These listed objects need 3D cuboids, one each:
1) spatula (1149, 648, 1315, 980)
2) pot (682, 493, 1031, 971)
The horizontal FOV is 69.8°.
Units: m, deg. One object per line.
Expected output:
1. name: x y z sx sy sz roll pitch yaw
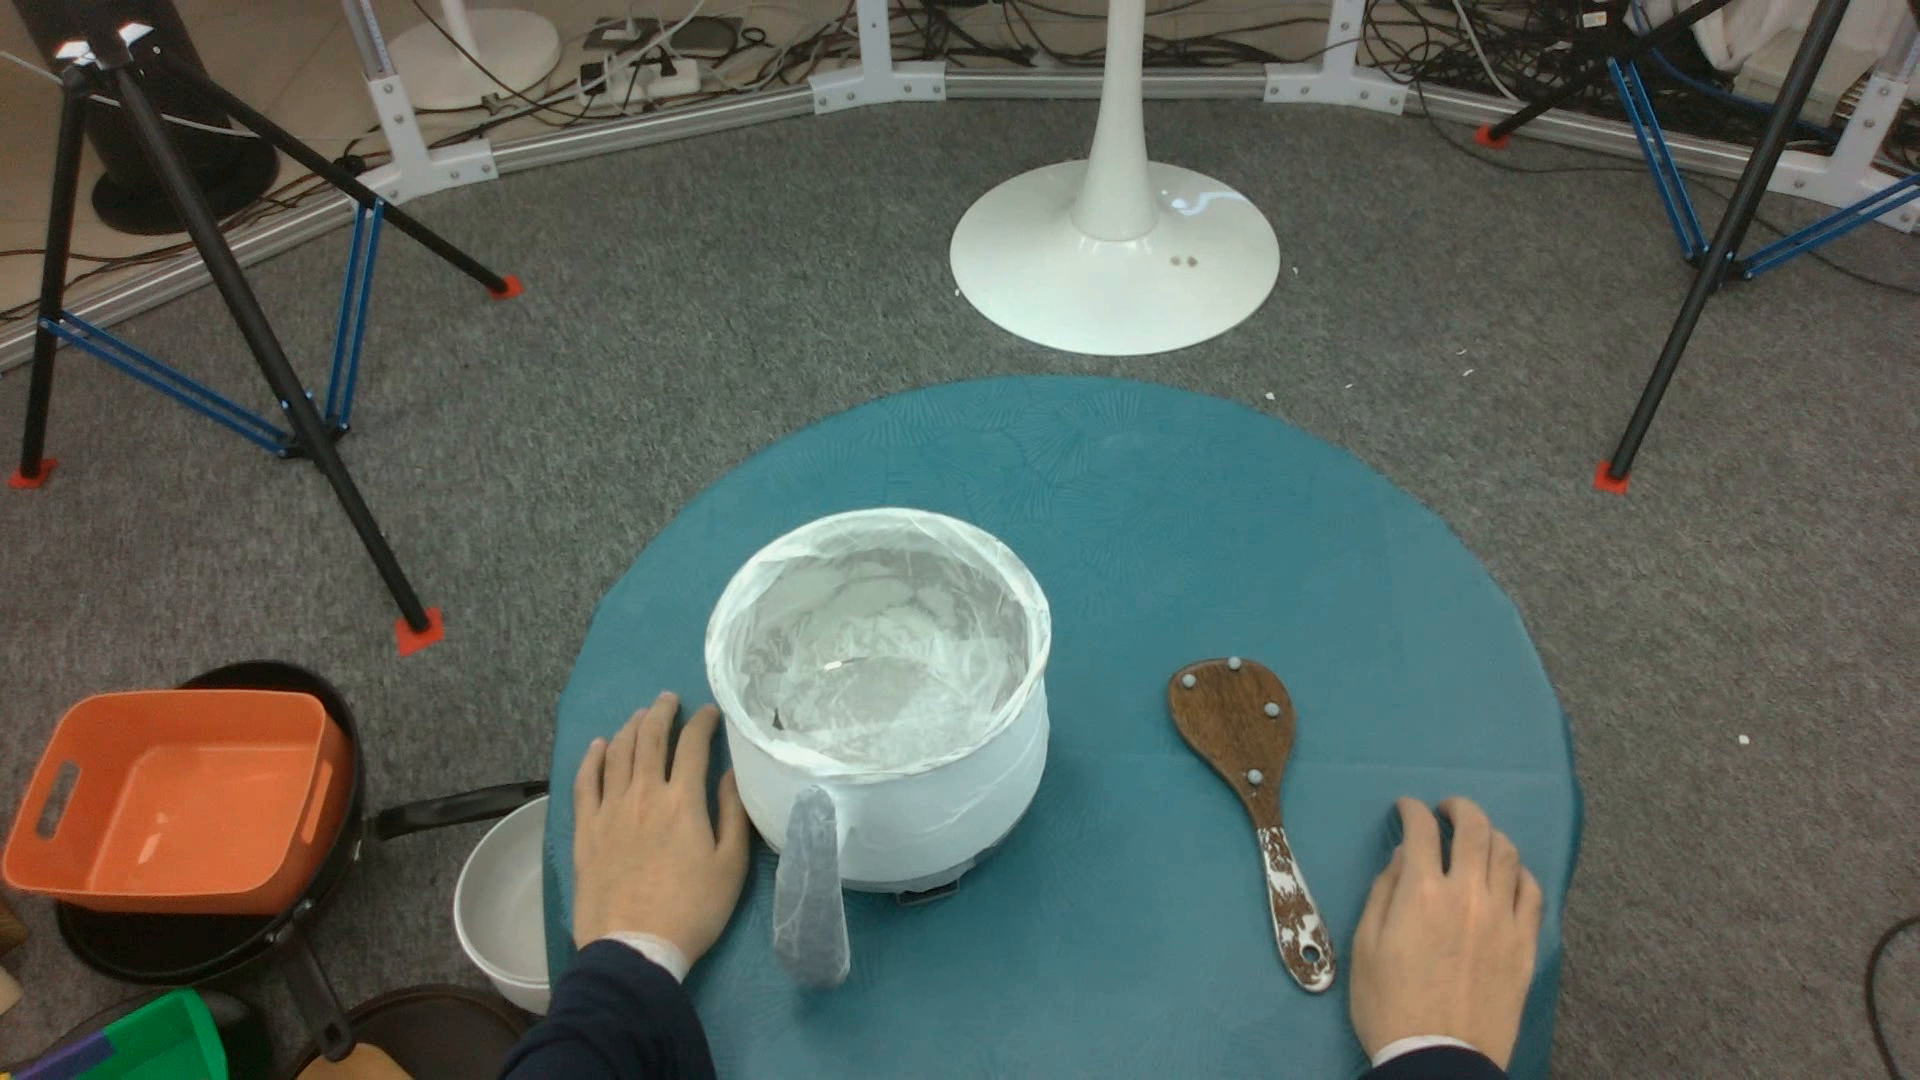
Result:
1. spatula: 0.158 0.146 0.776 0.072 0.009 0.216 -6 49 -3
2. pot: -0.056 0.101 0.729 0.178 0.136 0.235 7 47 11
